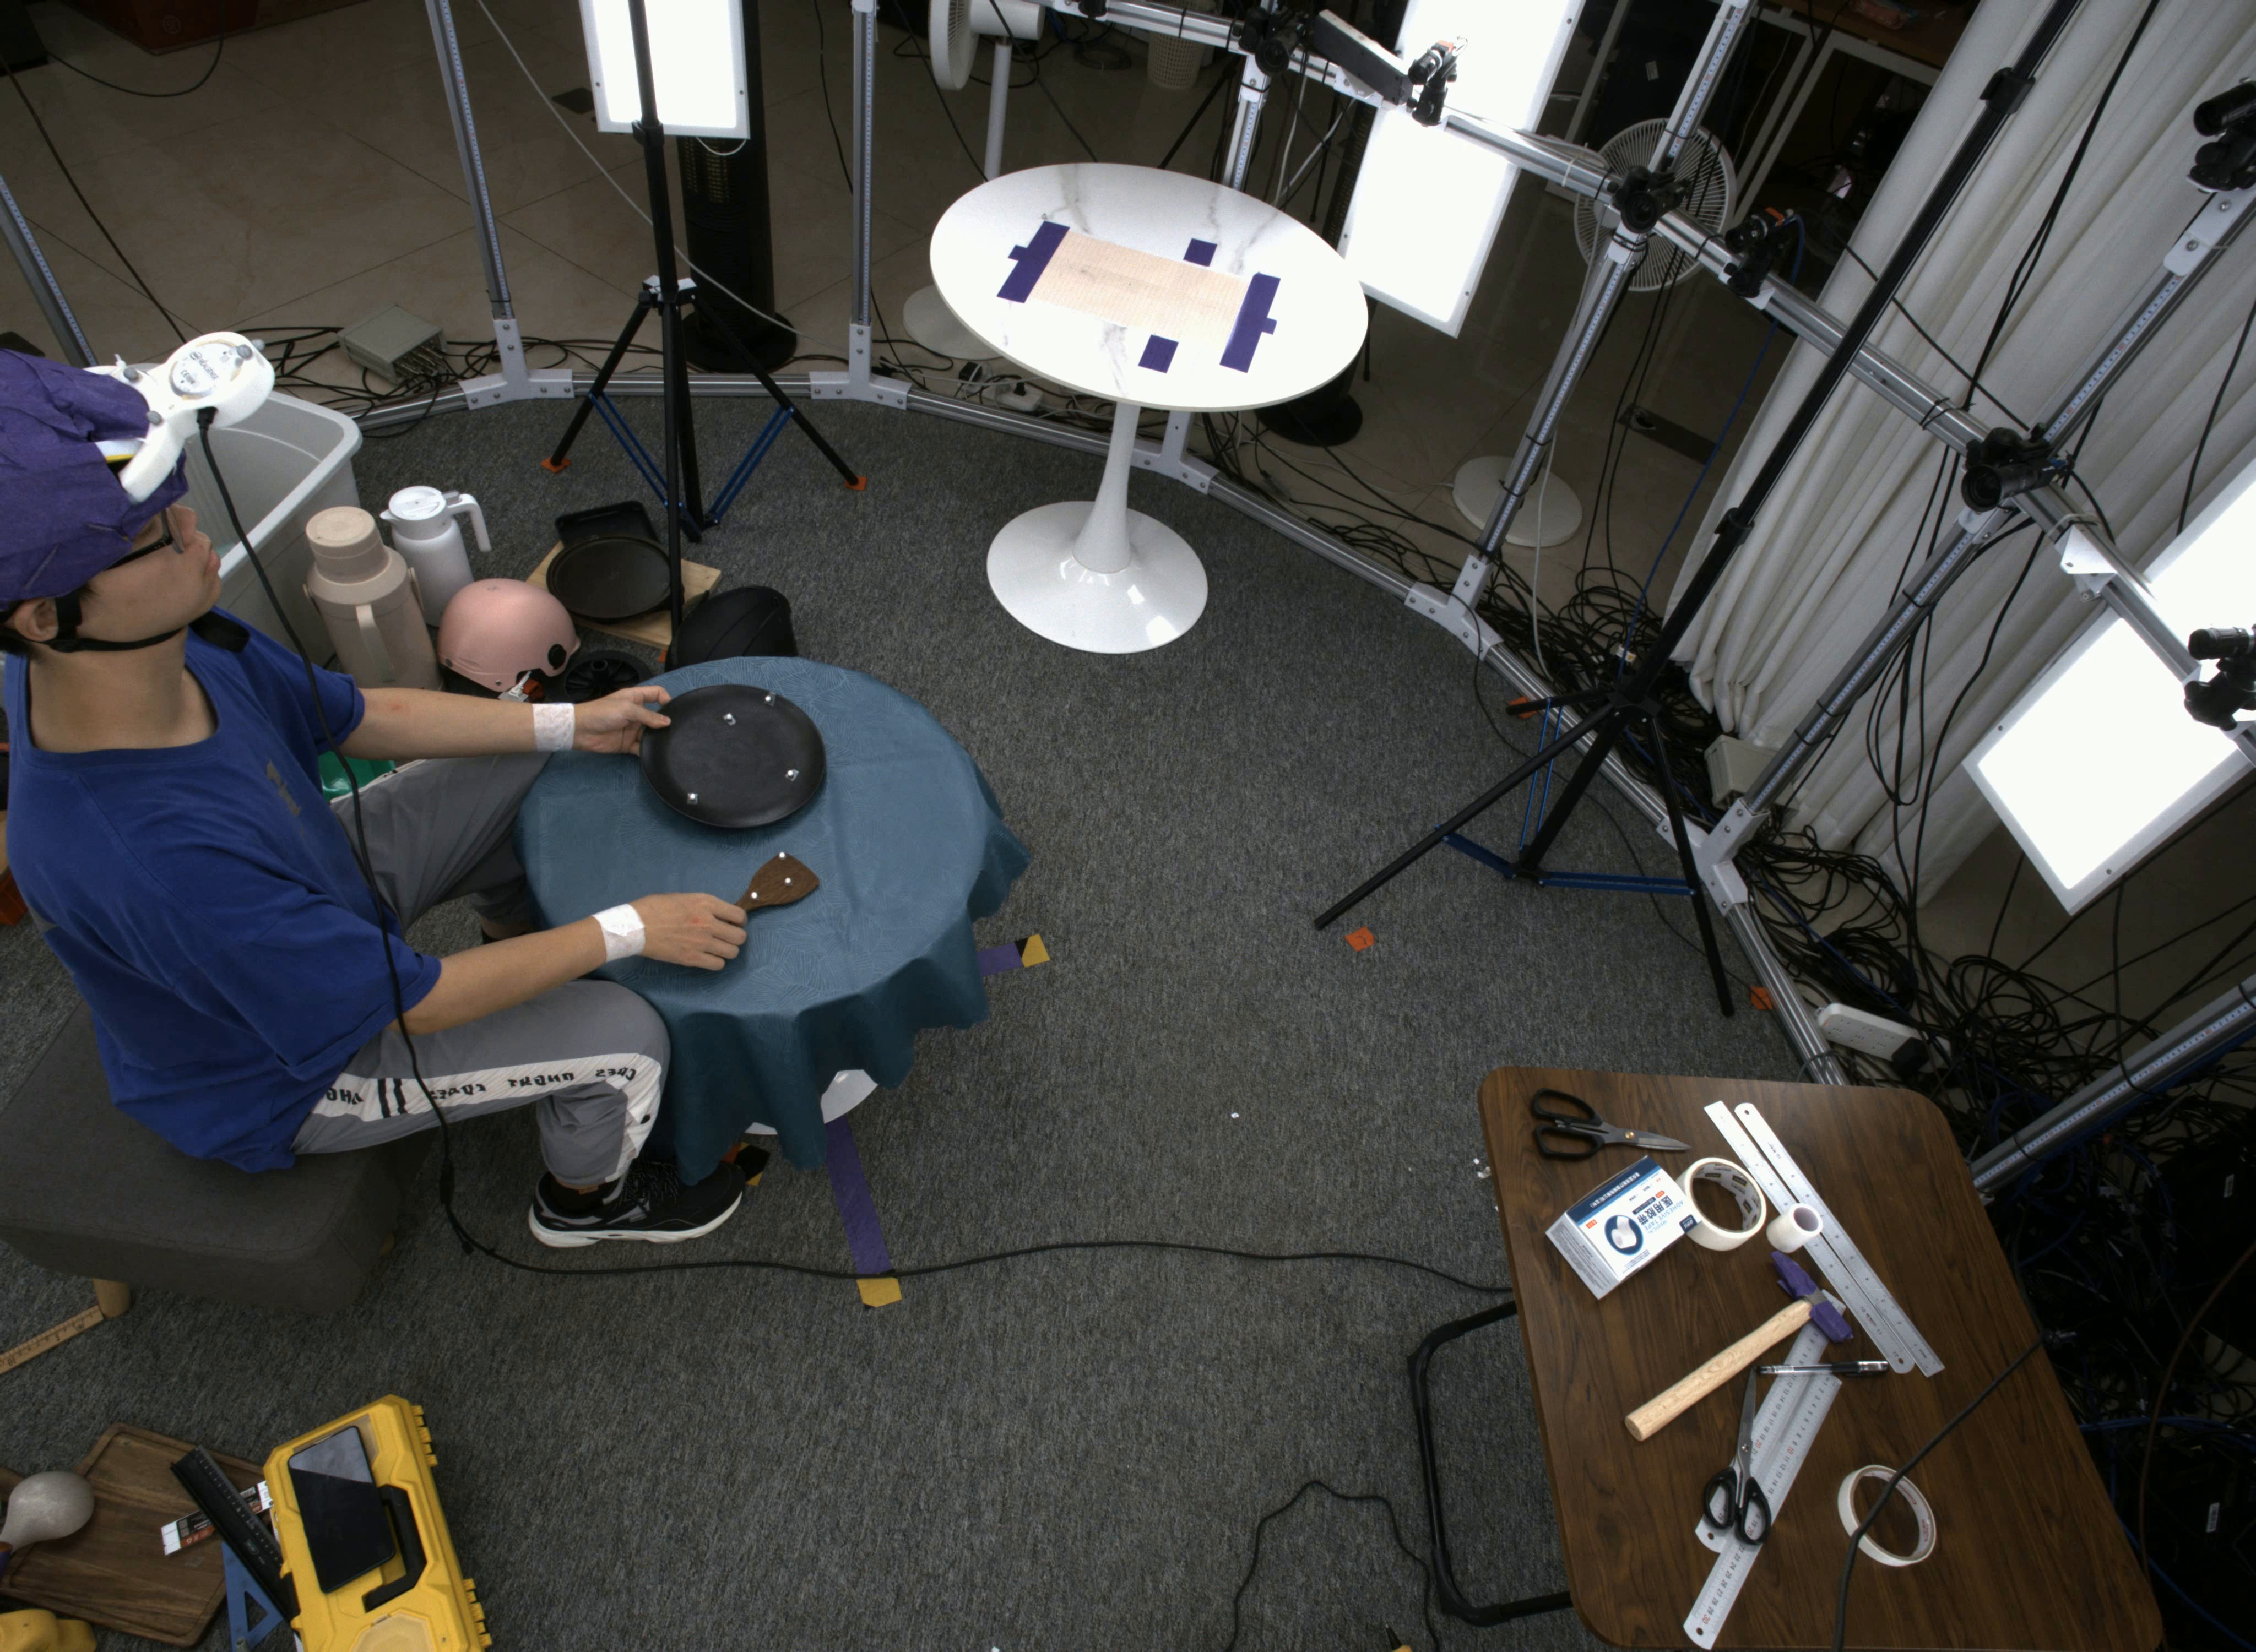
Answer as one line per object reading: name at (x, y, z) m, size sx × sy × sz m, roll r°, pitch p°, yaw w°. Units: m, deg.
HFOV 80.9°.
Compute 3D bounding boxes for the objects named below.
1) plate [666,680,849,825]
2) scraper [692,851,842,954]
plate at (-0.503, -0.098, 1.757) m, size 0.245 × 0.024 × 0.240 m, roll 12°, pitch 54°, yaw -15°
scraper at (-0.460, 0.098, 1.635) m, size 0.074 × 0.011 × 0.212 m, roll 38°, pitch 48°, yaw 17°
